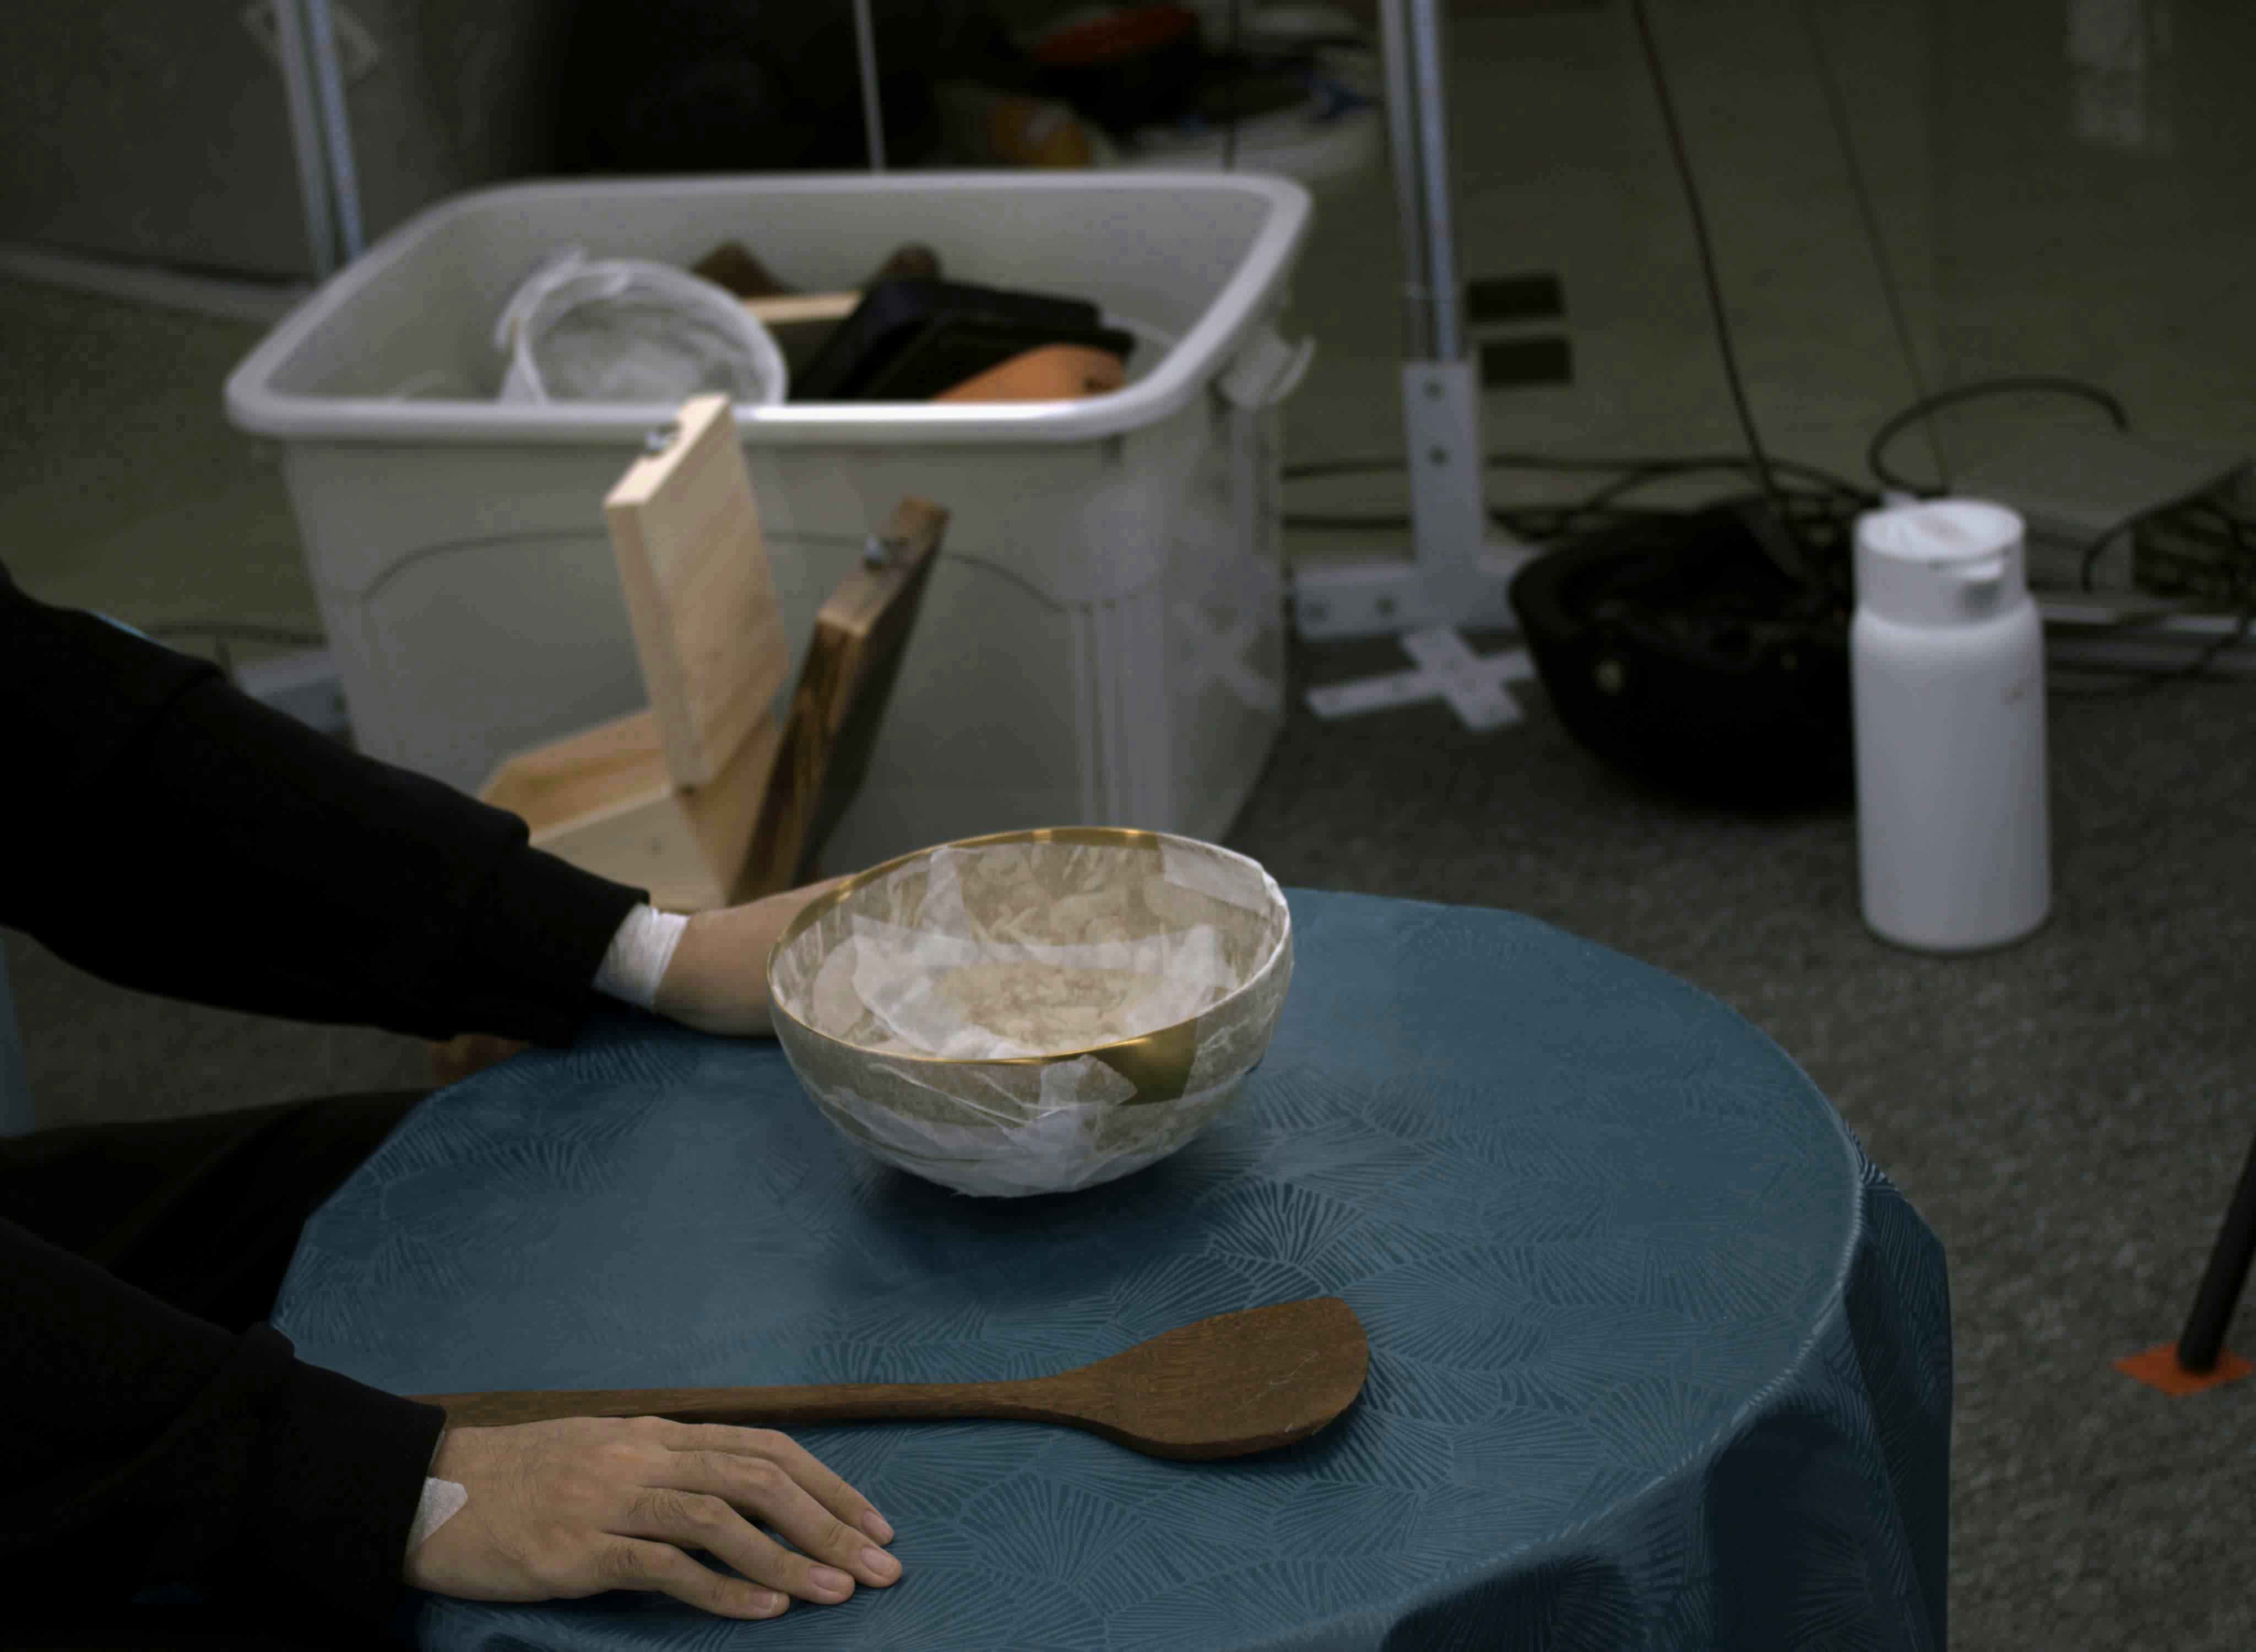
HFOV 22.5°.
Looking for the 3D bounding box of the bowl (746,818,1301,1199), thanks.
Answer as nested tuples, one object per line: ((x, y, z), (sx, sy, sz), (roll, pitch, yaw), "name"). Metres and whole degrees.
((-0.035, 0.082, 2.172), (0.214, 0.096, 0.211), (-6, 27, 3), "bowl")

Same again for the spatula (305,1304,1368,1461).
((-0.106, 0.206, 2.020), (0.385, 0.016, 0.095), (-3, 24, 7), "spatula")
